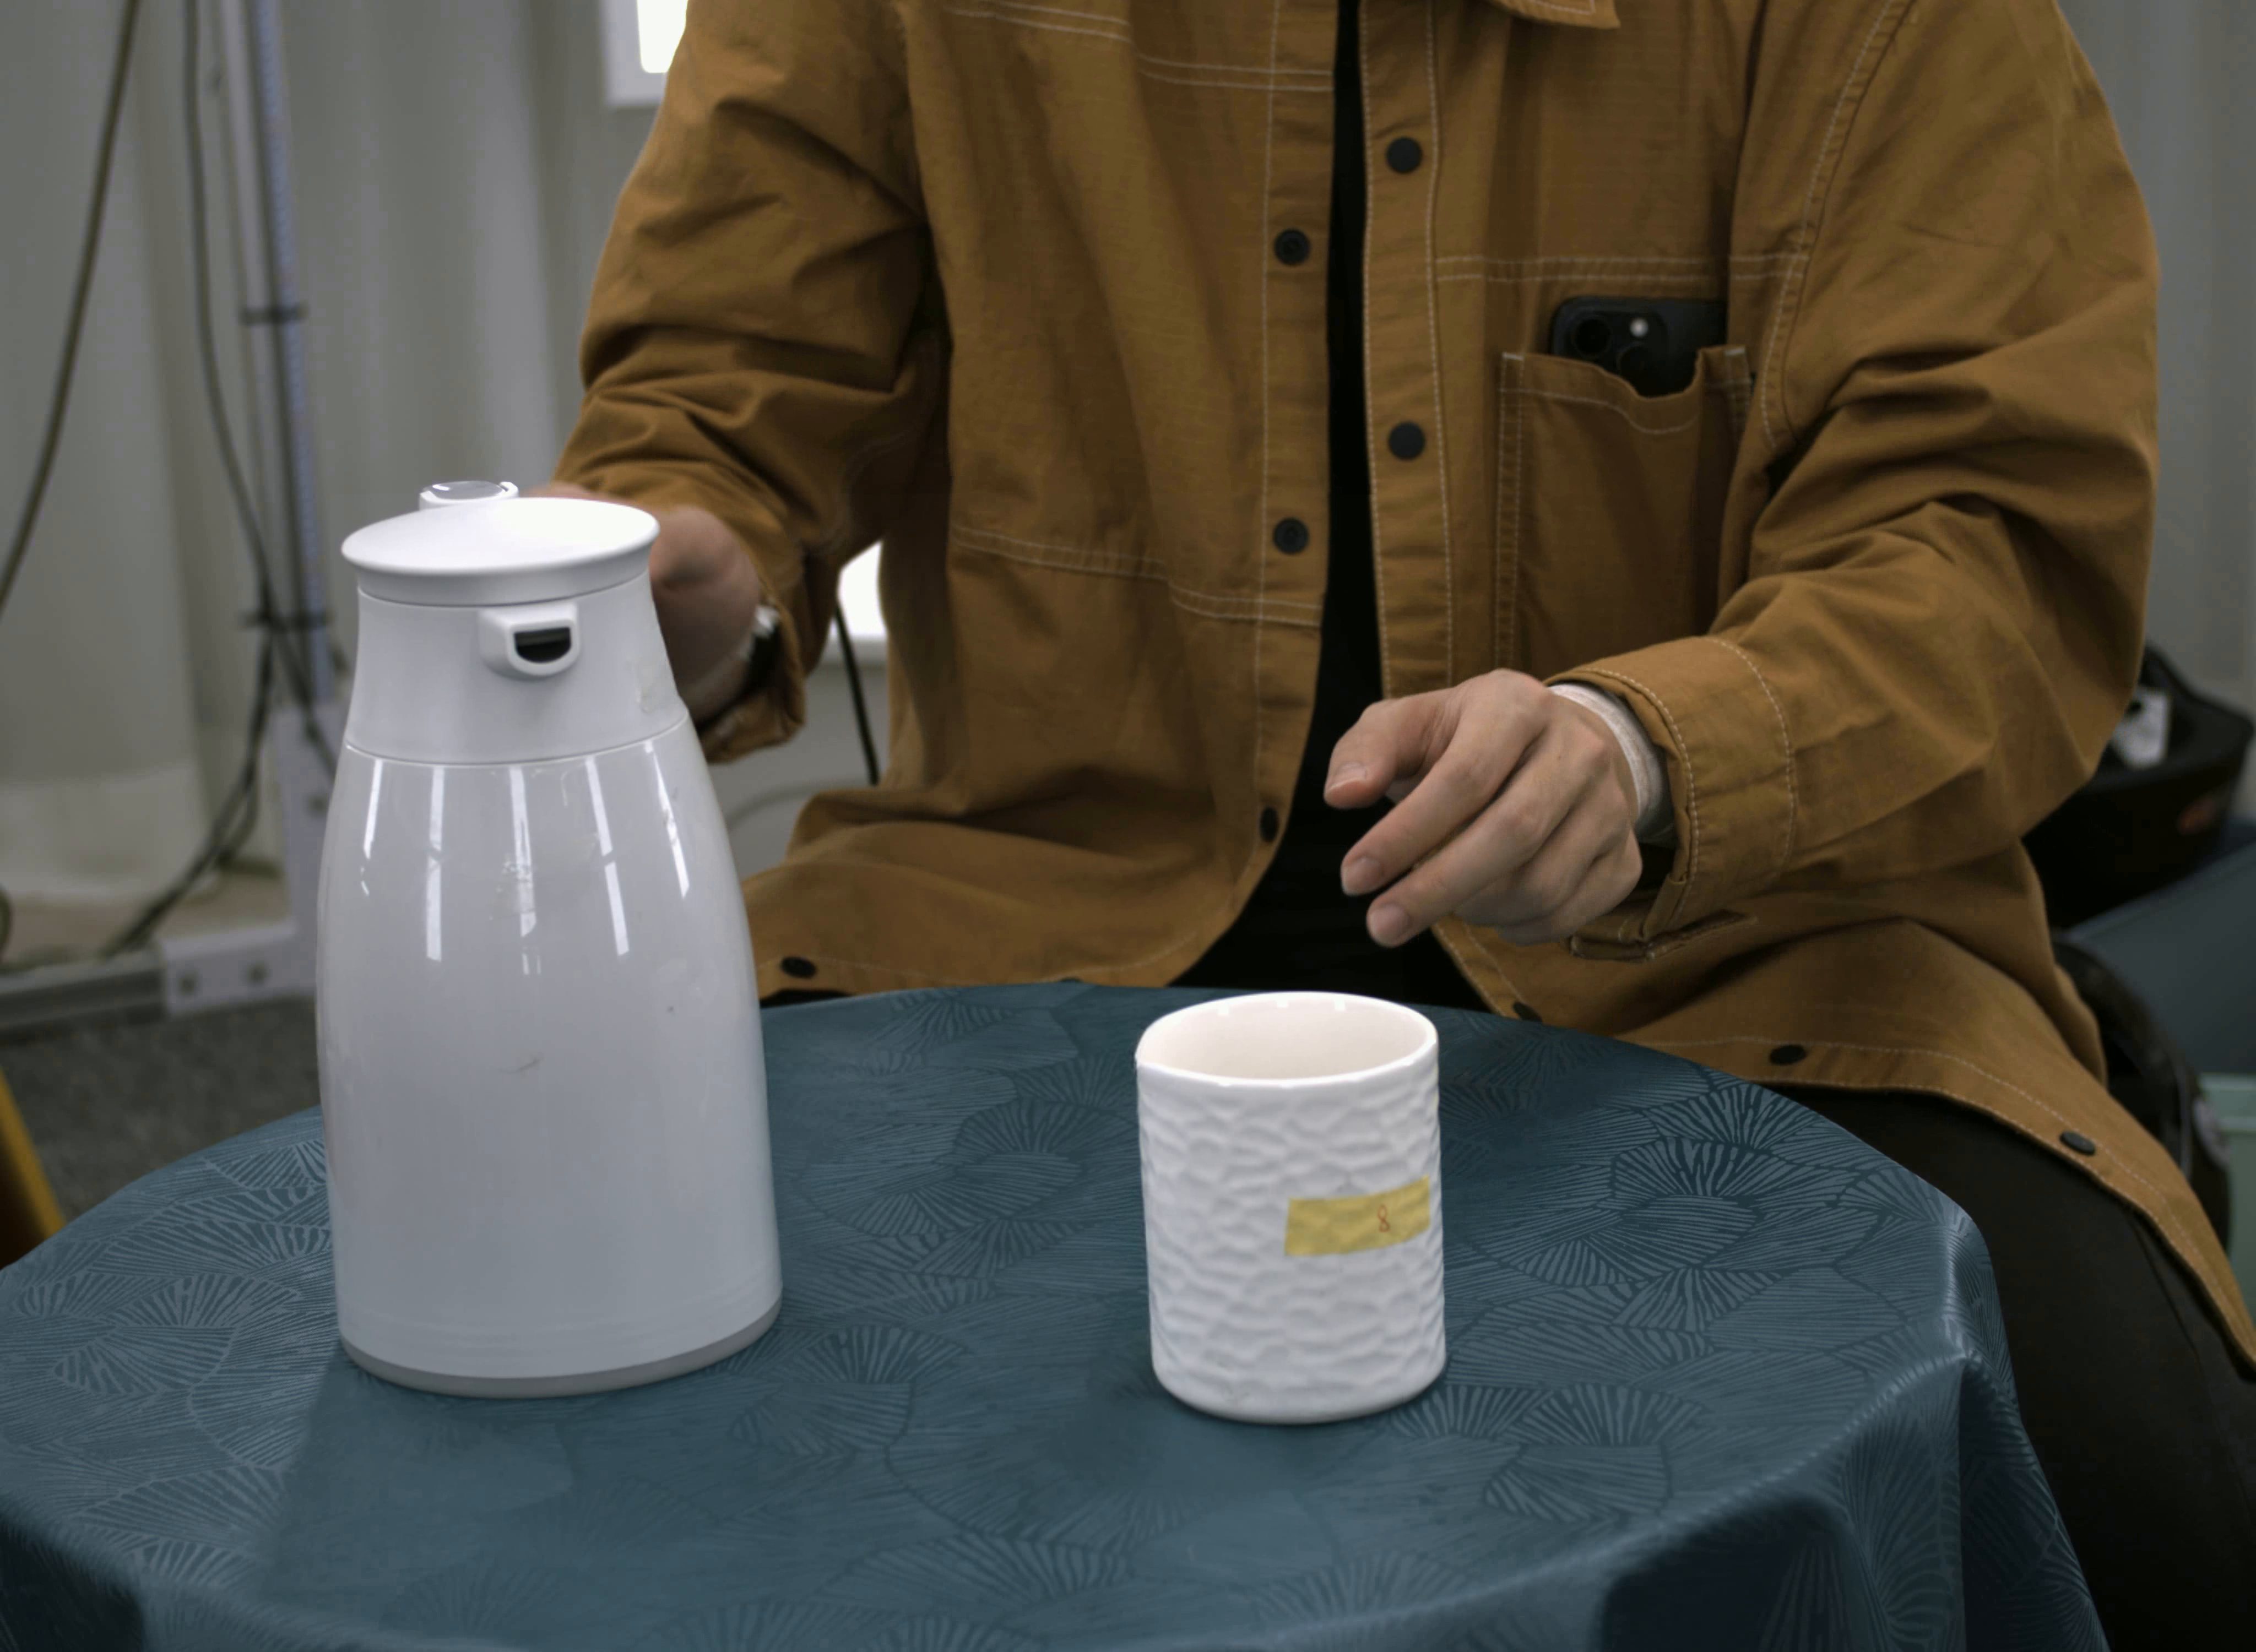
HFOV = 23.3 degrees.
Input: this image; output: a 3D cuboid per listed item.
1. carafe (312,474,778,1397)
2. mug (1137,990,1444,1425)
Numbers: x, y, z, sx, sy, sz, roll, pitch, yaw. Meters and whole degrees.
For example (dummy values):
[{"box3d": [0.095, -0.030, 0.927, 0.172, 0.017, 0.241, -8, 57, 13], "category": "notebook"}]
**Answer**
[{"box3d": [-0.181, 0.023, 1.613, 0.132, 0.248, 0.169, -7, 14, -16], "category": "carafe"}, {"box3d": [0.044, 0.103, 1.551, 0.084, 0.101, 0.119, -4, 14, -9], "category": "mug"}]
